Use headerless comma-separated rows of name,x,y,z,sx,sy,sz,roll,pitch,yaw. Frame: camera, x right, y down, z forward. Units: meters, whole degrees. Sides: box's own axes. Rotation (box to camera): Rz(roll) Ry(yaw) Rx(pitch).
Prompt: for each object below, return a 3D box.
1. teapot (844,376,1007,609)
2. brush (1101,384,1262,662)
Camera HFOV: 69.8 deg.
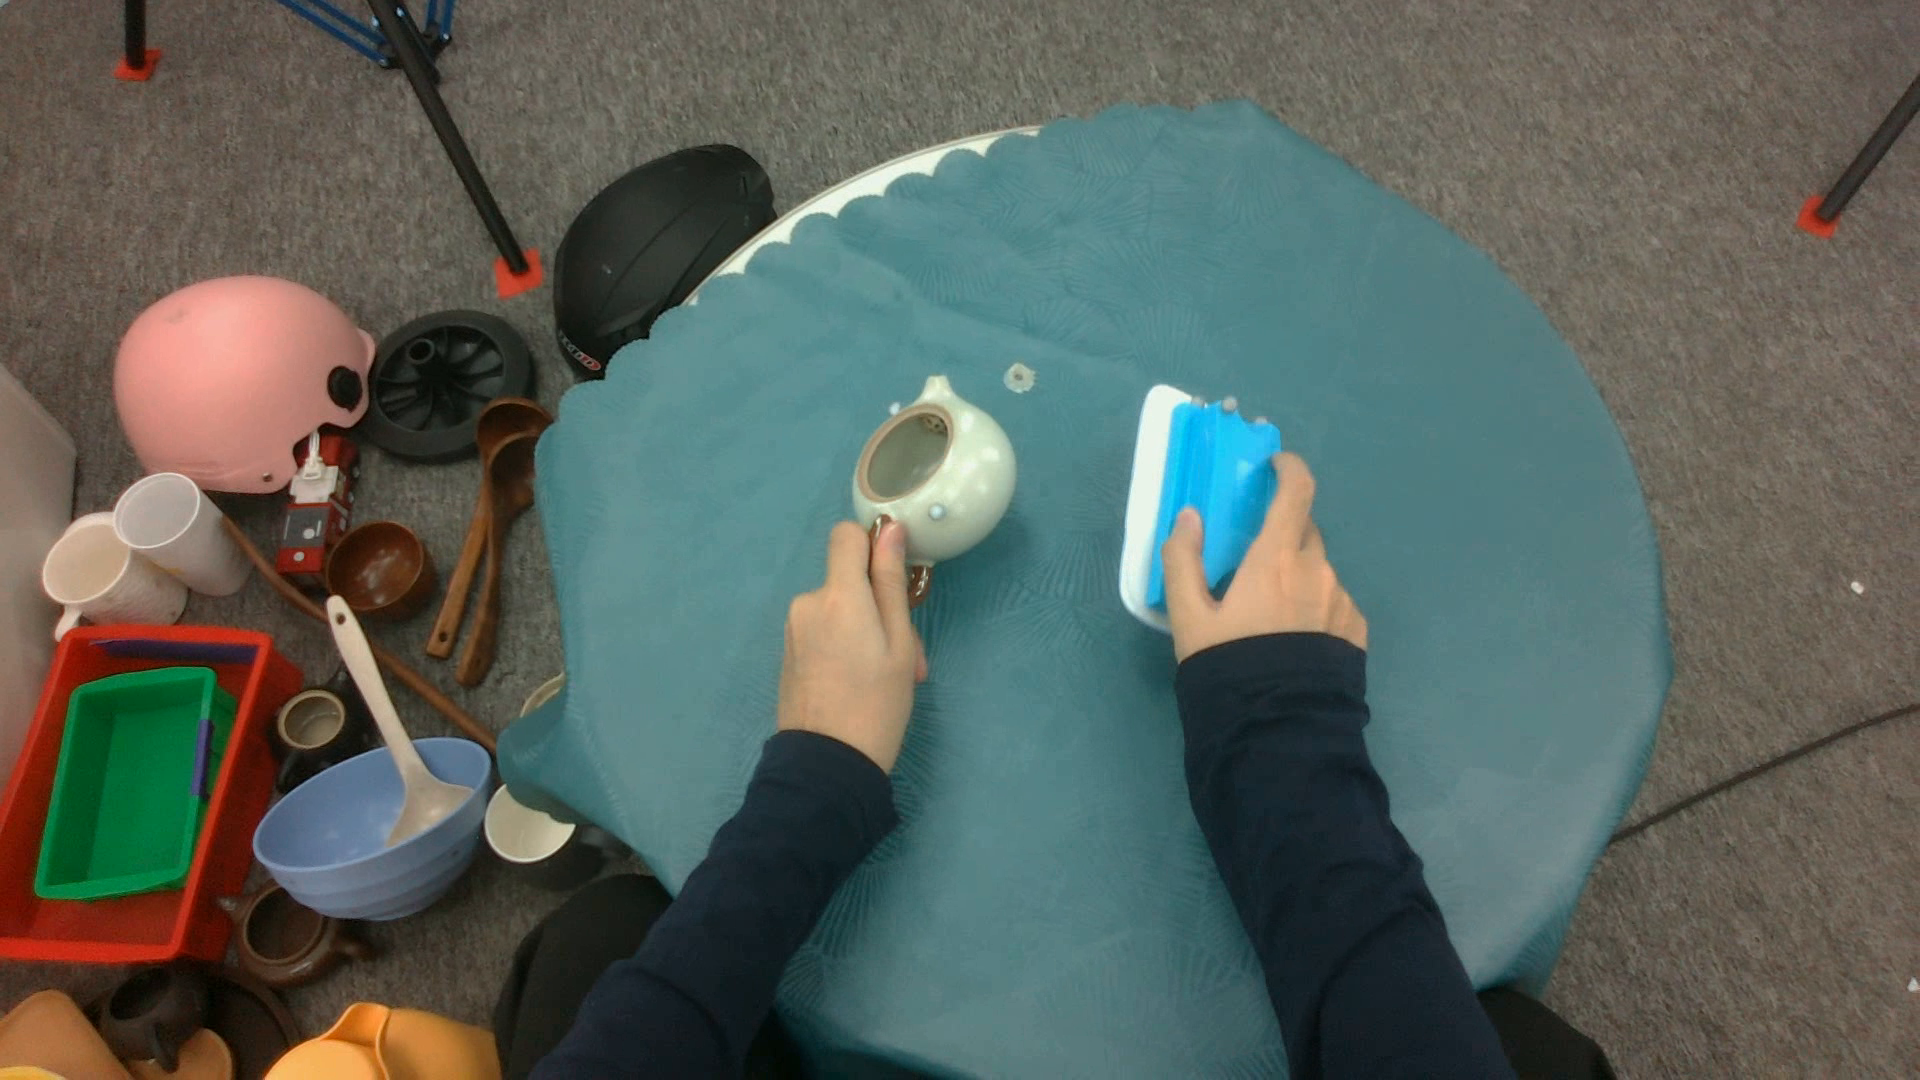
teapot,-0.021,-0.023,0.730,0.091,0.059,0.128,-2,57,40
brush,0.124,-0.015,0.707,0.084,0.055,0.144,27,60,-25
